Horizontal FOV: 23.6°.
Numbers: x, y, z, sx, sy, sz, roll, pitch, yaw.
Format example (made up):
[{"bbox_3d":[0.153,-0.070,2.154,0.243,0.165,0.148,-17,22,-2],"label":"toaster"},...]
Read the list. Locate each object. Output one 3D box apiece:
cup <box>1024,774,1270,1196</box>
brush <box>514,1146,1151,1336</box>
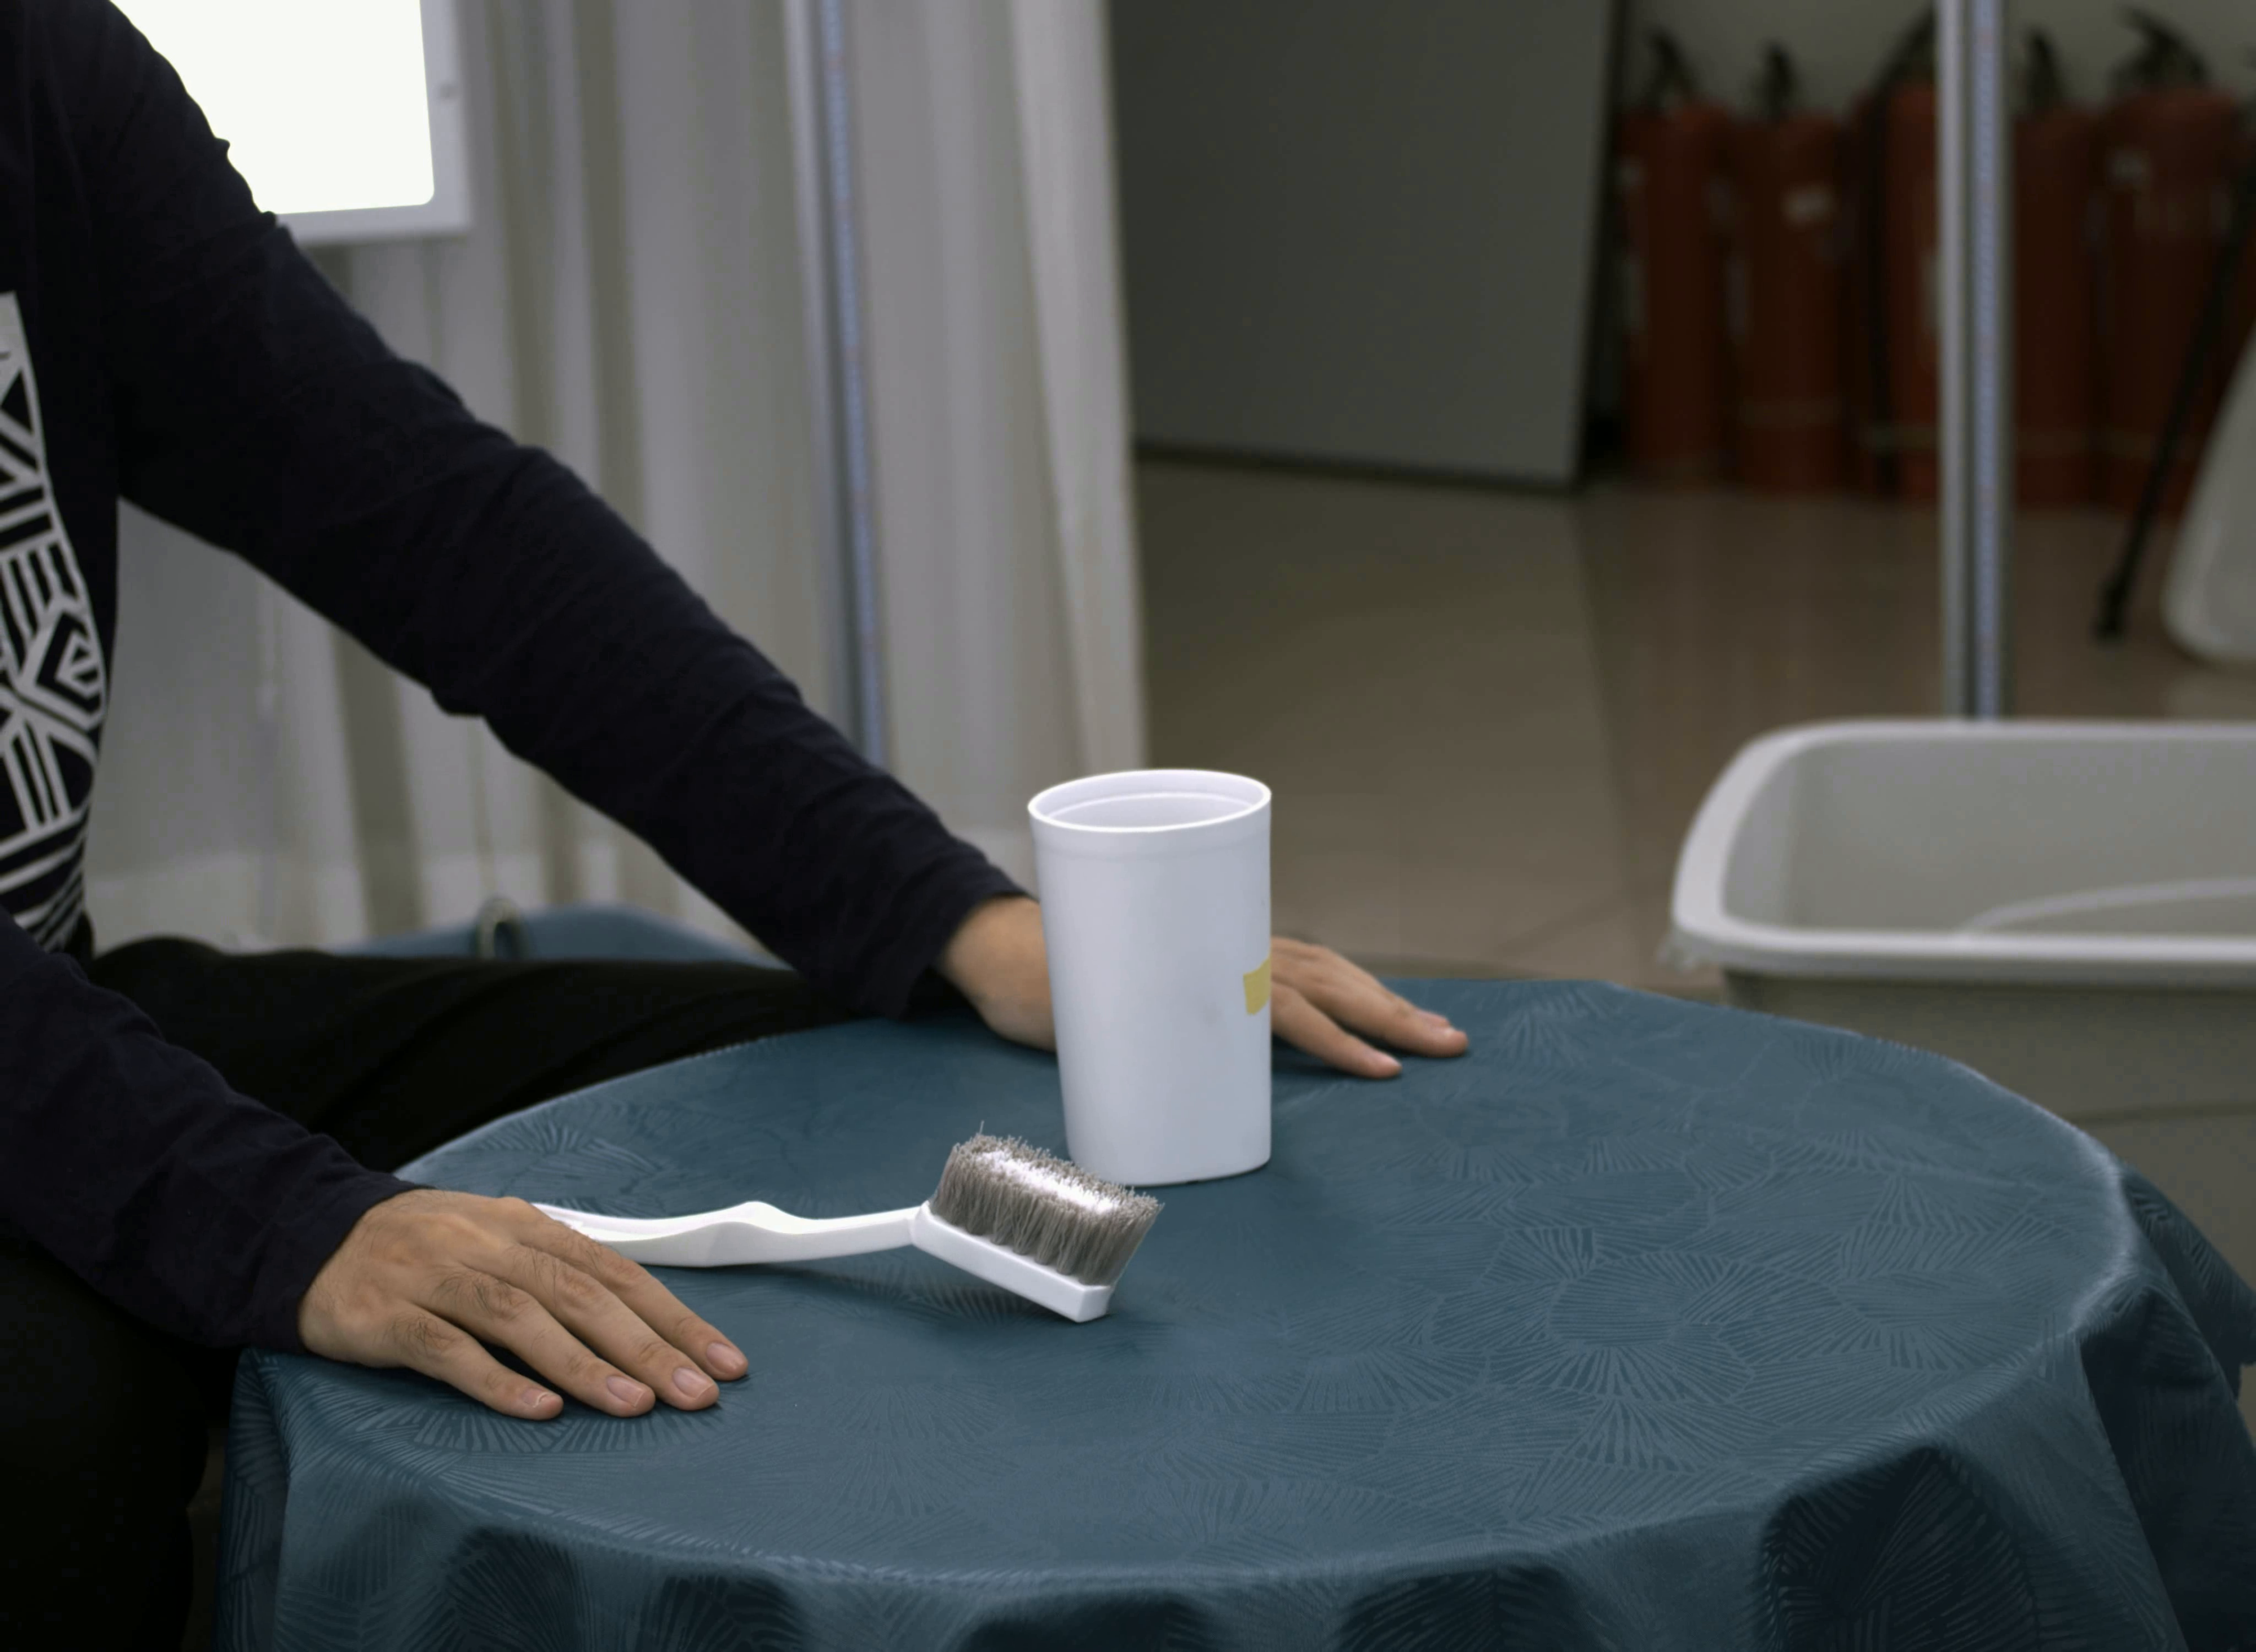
[{"bbox_3d":[0.010,0.053,1.793,0.080,0.127,0.082,-4,12,0],"label":"cup"},{"bbox_3d":[-0.099,0.121,1.710,0.245,0.051,0.034,5,20,34],"label":"brush"}]
